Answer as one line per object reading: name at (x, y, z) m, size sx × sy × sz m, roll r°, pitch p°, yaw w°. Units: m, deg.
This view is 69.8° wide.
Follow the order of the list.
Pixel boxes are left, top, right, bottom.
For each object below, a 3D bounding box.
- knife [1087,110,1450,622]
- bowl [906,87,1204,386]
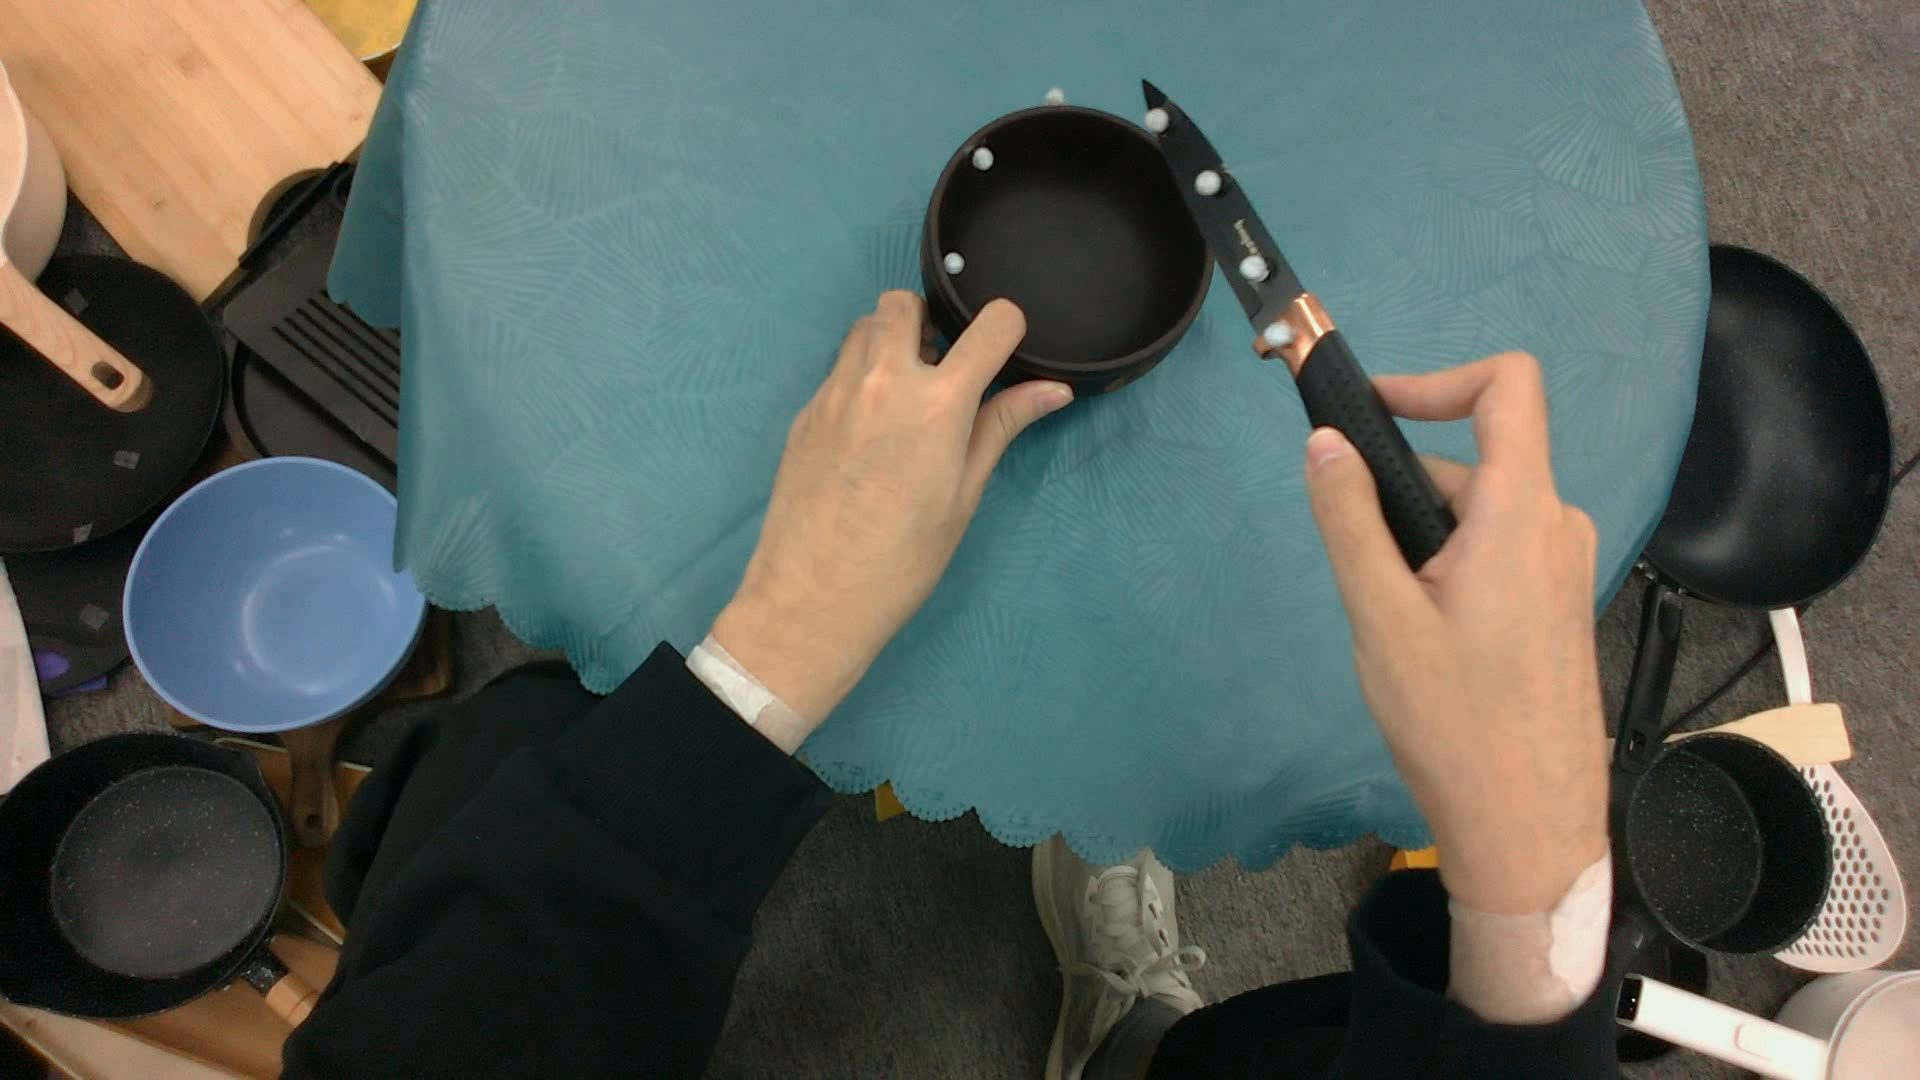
knife at (0.093, -0.068, 0.446) m, size 0.026 × 0.017 × 0.226 m, roll -34°, pitch 61°, yaw 18°
bowl at (0.036, -0.118, 0.570) m, size 0.118 × 0.069 × 0.118 m, roll 1°, pitch 79°, yaw -7°
